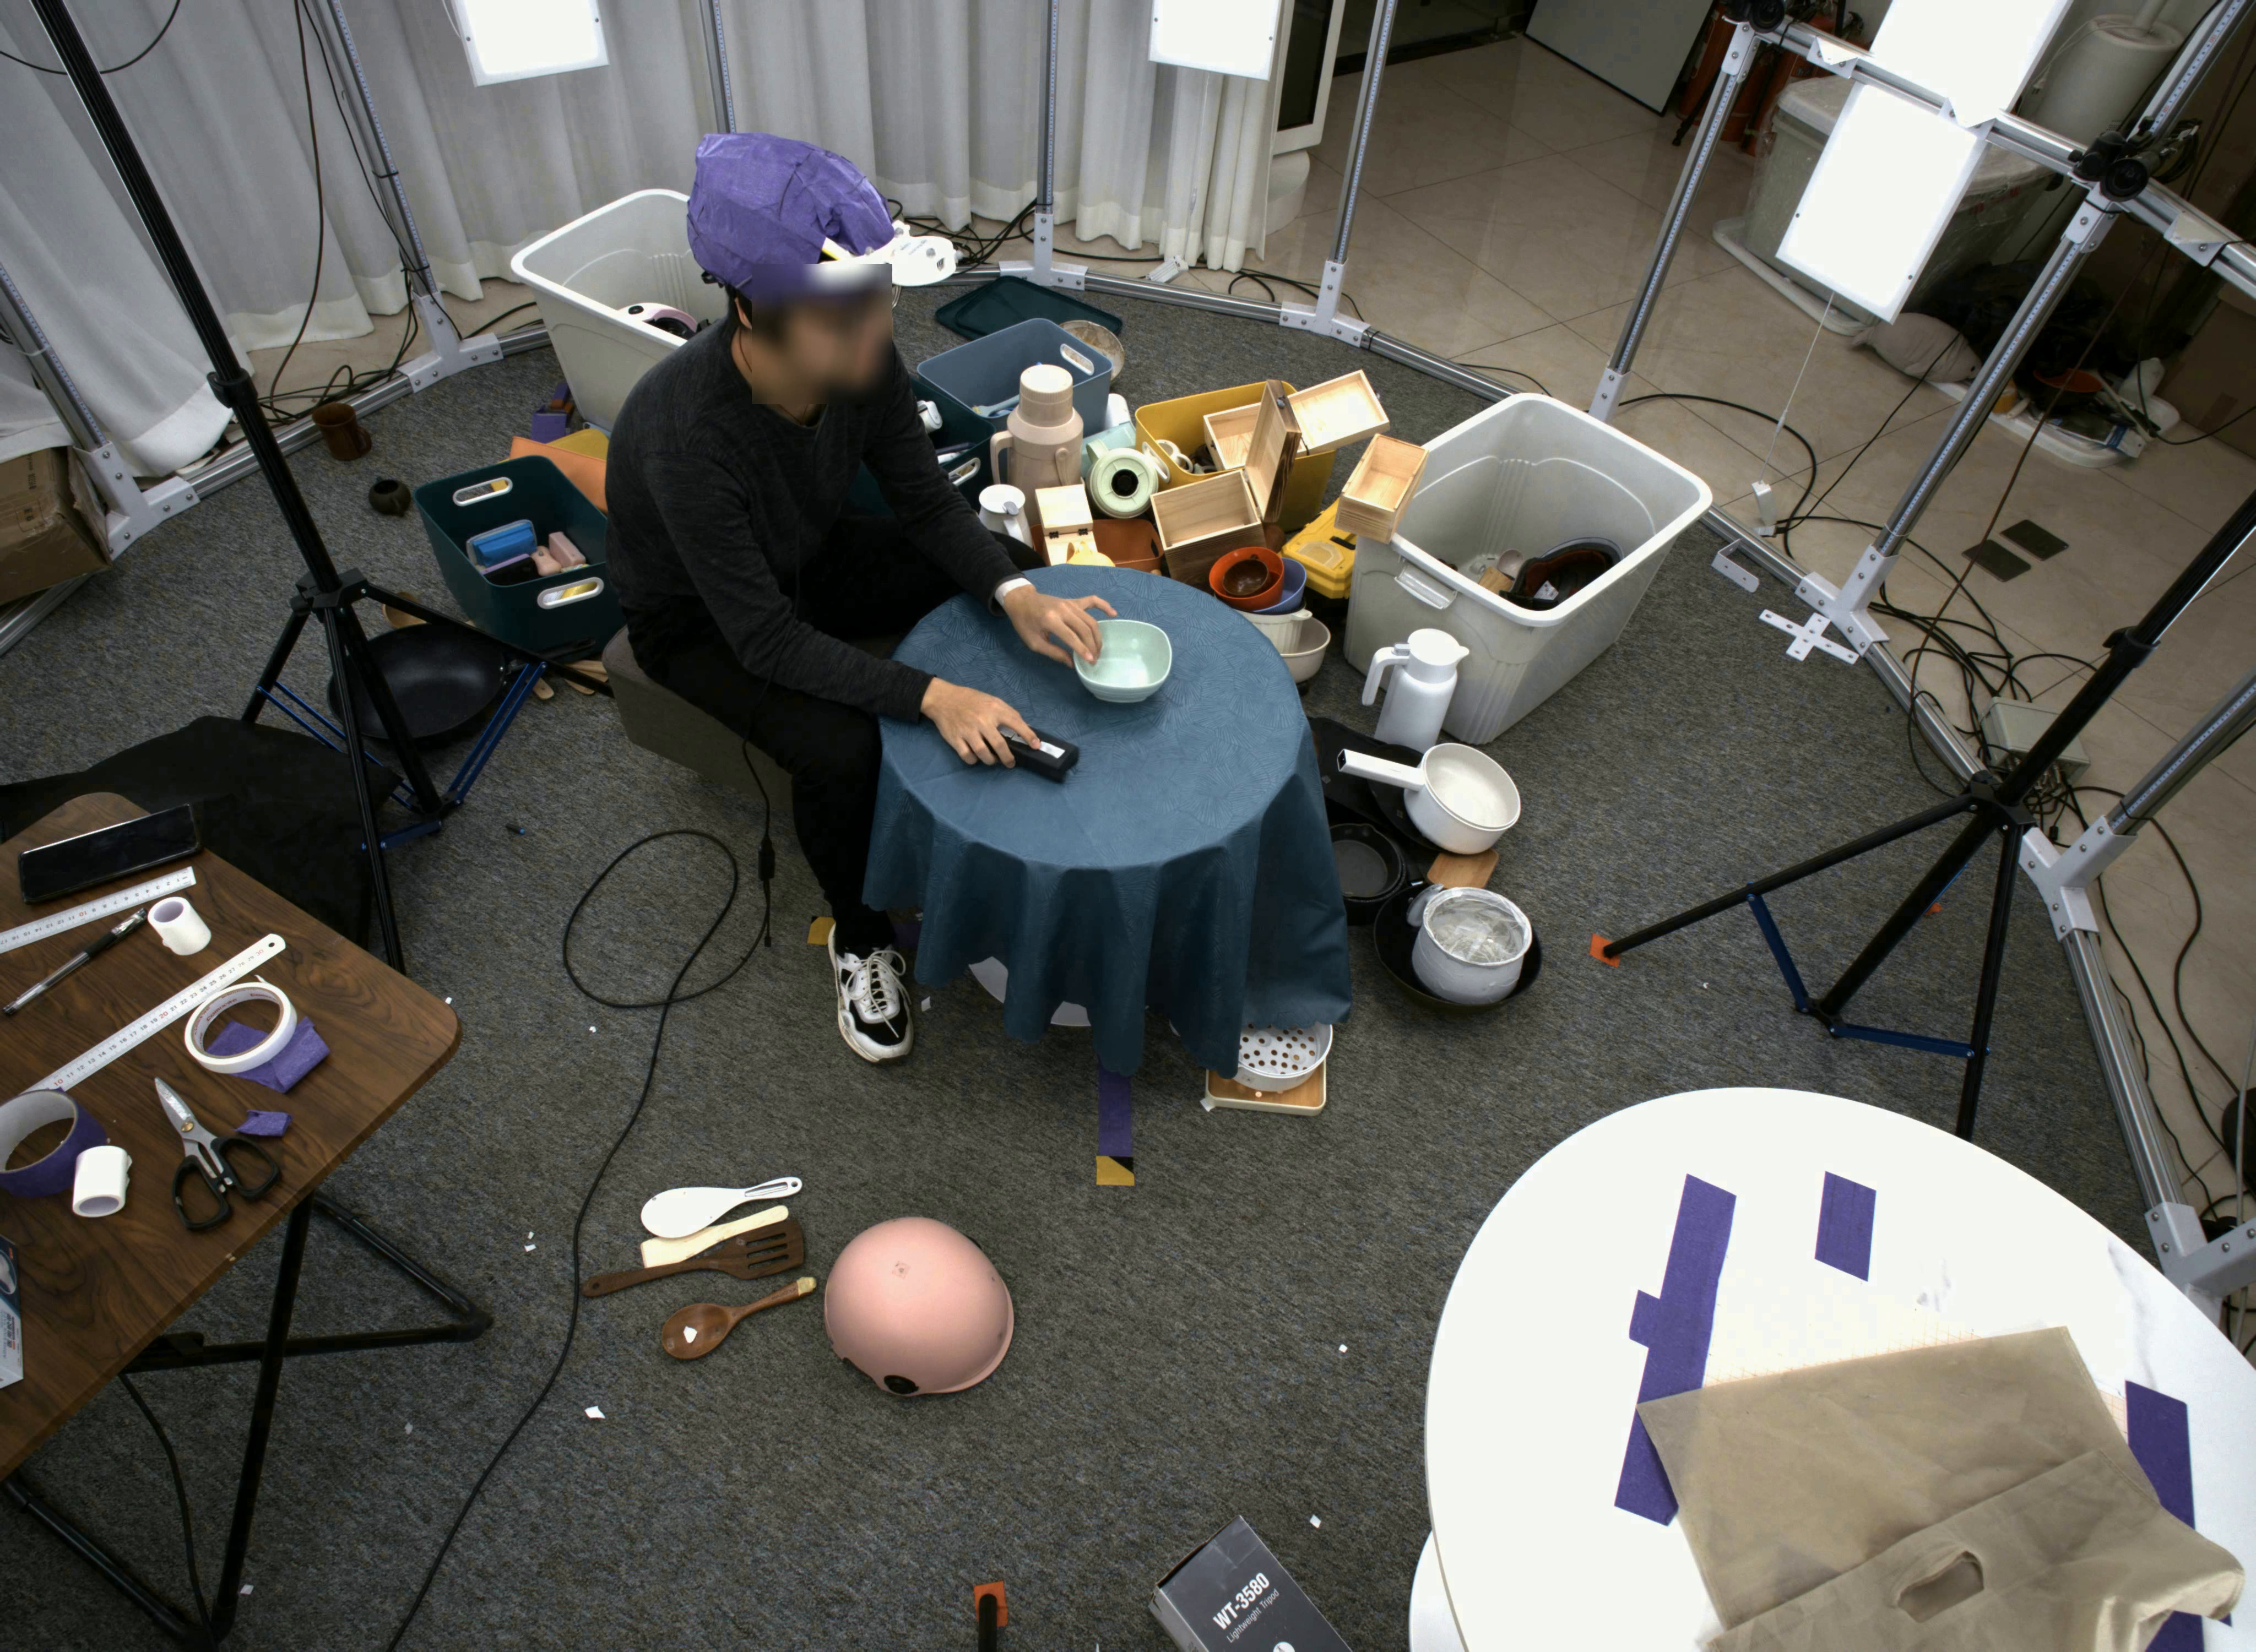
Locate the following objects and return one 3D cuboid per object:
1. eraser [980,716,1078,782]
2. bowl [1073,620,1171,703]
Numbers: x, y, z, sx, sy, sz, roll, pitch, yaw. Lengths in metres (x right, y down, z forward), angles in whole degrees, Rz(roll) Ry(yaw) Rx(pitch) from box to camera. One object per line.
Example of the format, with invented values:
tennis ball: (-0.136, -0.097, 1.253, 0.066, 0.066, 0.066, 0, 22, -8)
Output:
eraser: (-0.134, -0.105, 1.734, 0.126, 0.030, 0.054, 23, 49, 16)
bowl: (-0.010, -0.226, 1.830, 0.151, 0.057, 0.155, 3, 49, -4)
